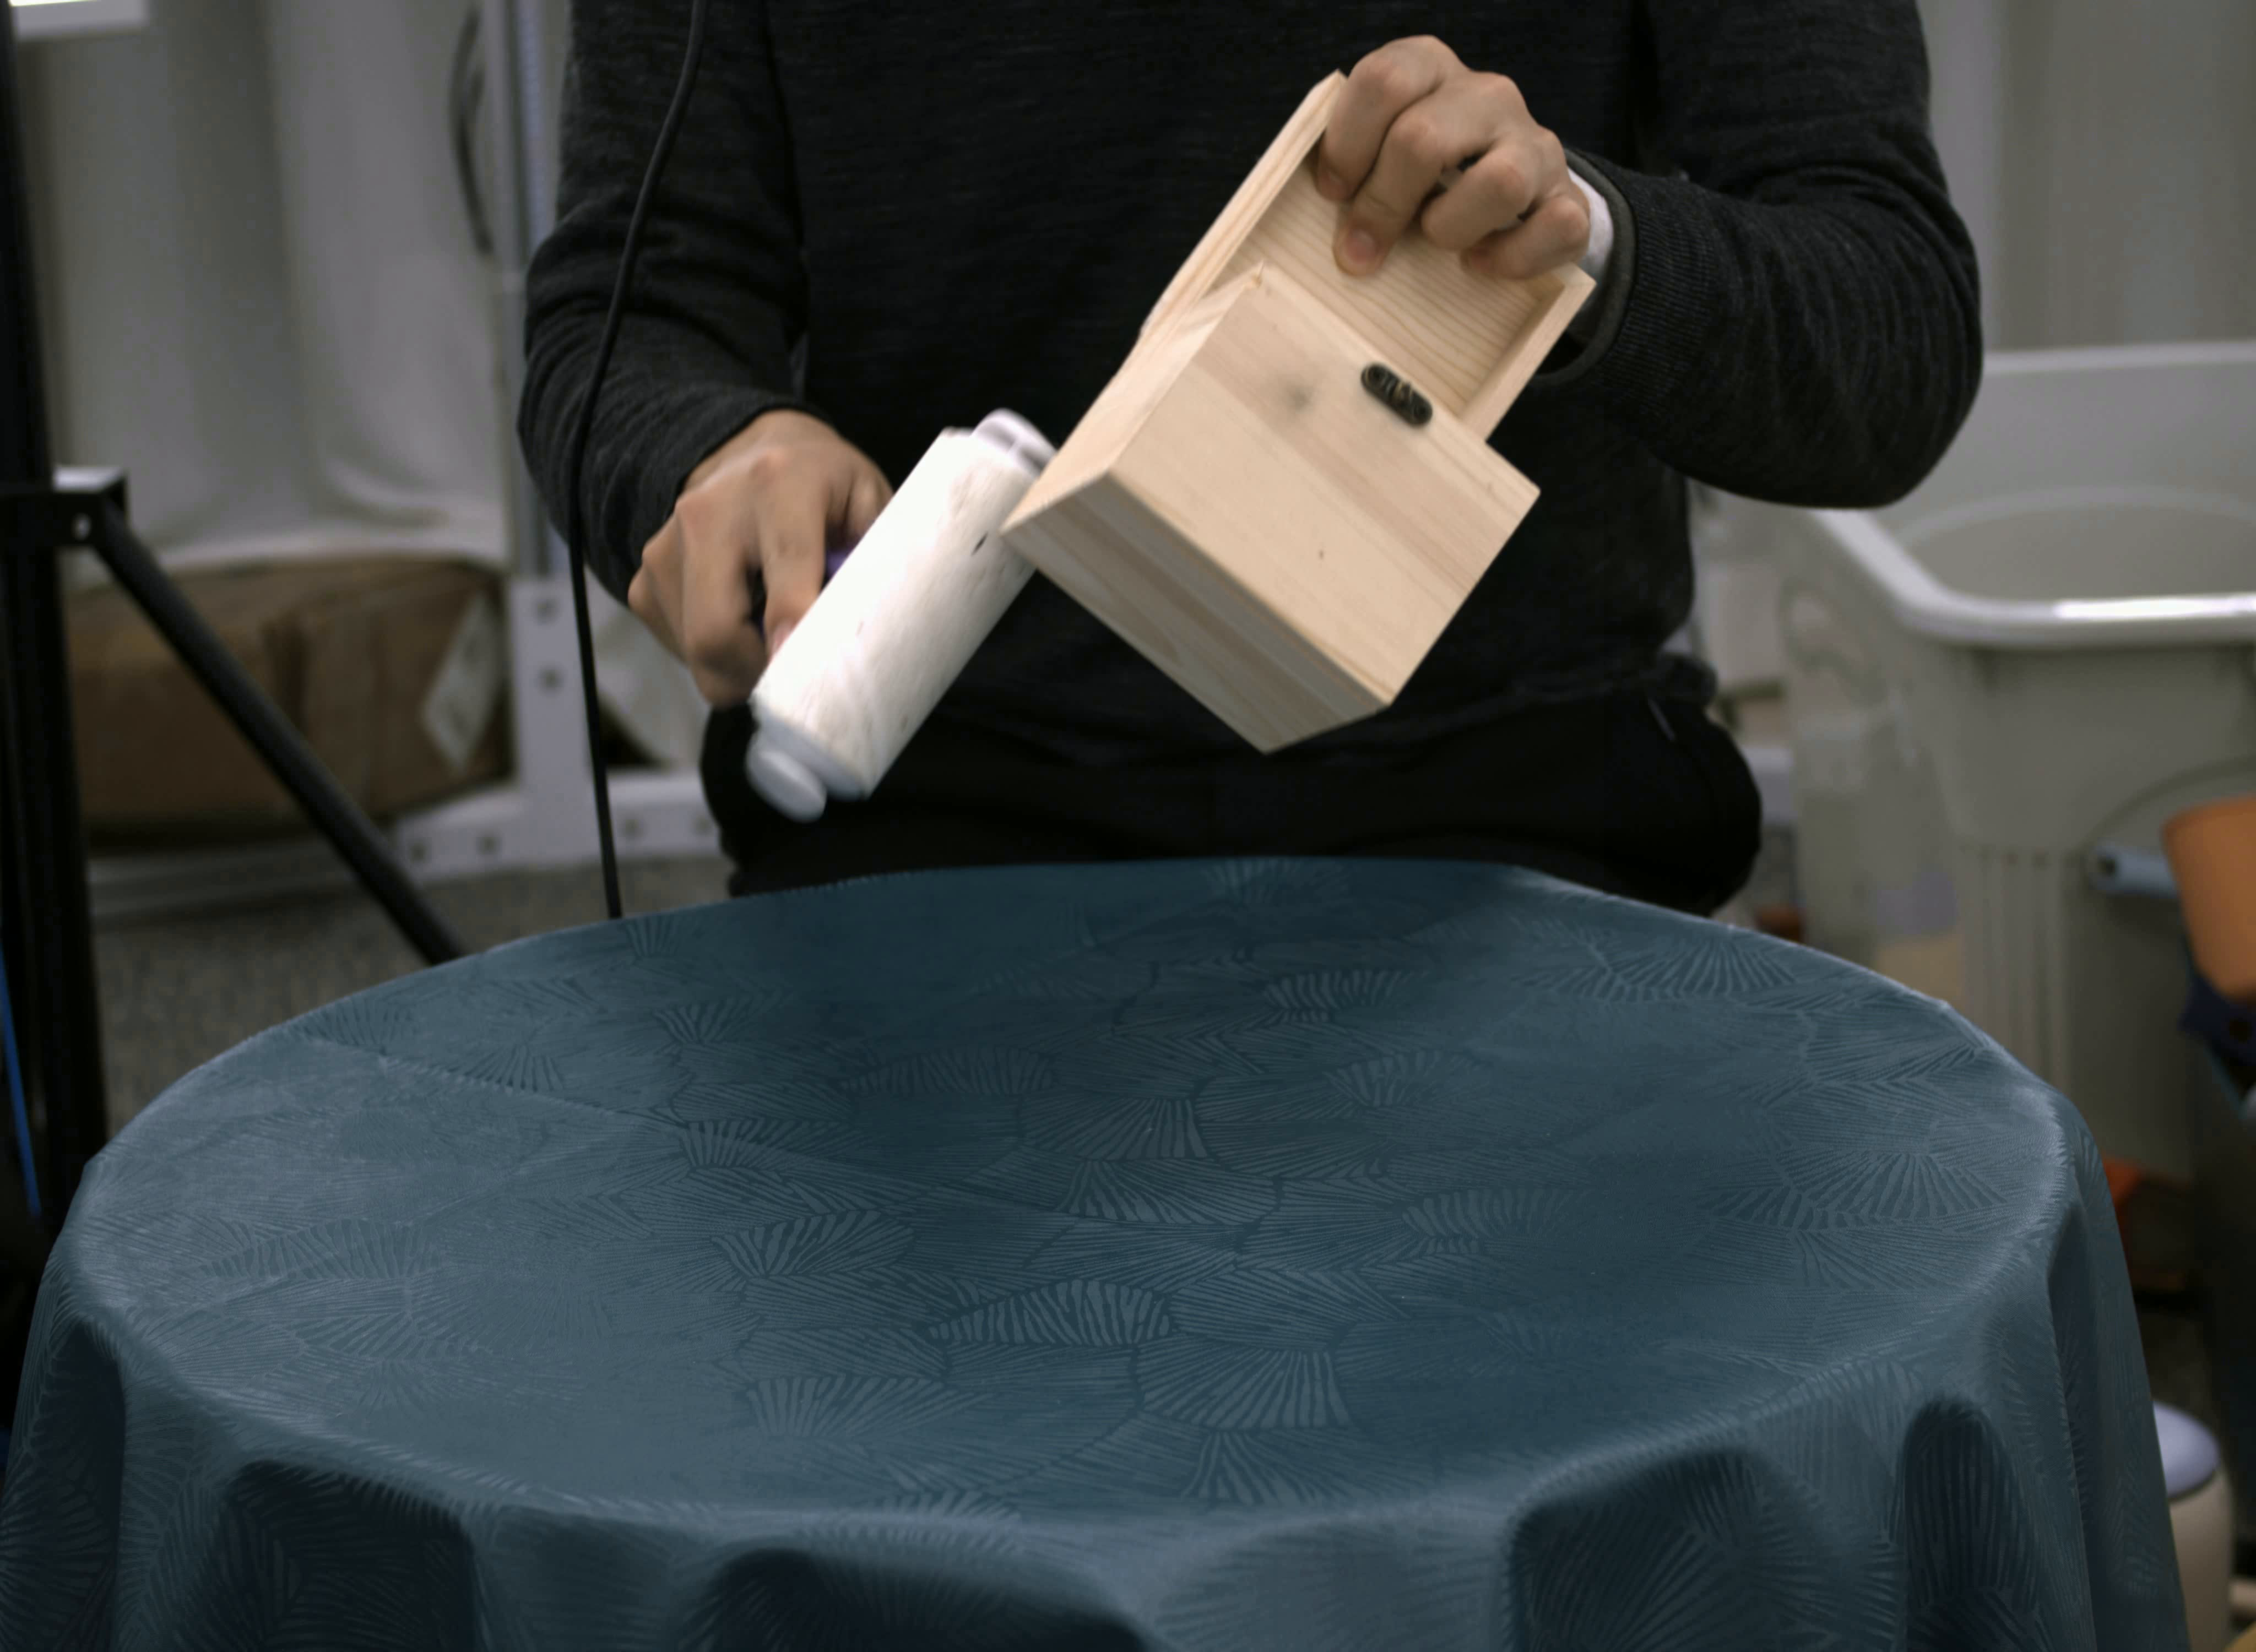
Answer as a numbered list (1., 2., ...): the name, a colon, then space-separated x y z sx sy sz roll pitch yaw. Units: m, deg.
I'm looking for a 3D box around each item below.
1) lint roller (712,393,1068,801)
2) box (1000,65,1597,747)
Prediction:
1. lint roller: -0.093 -0.077 1.602 0.049 0.133 0.184 41 -9 -28
2. box: 0.065 -0.129 1.506 0.184 0.102 0.135 -53 10 -18
